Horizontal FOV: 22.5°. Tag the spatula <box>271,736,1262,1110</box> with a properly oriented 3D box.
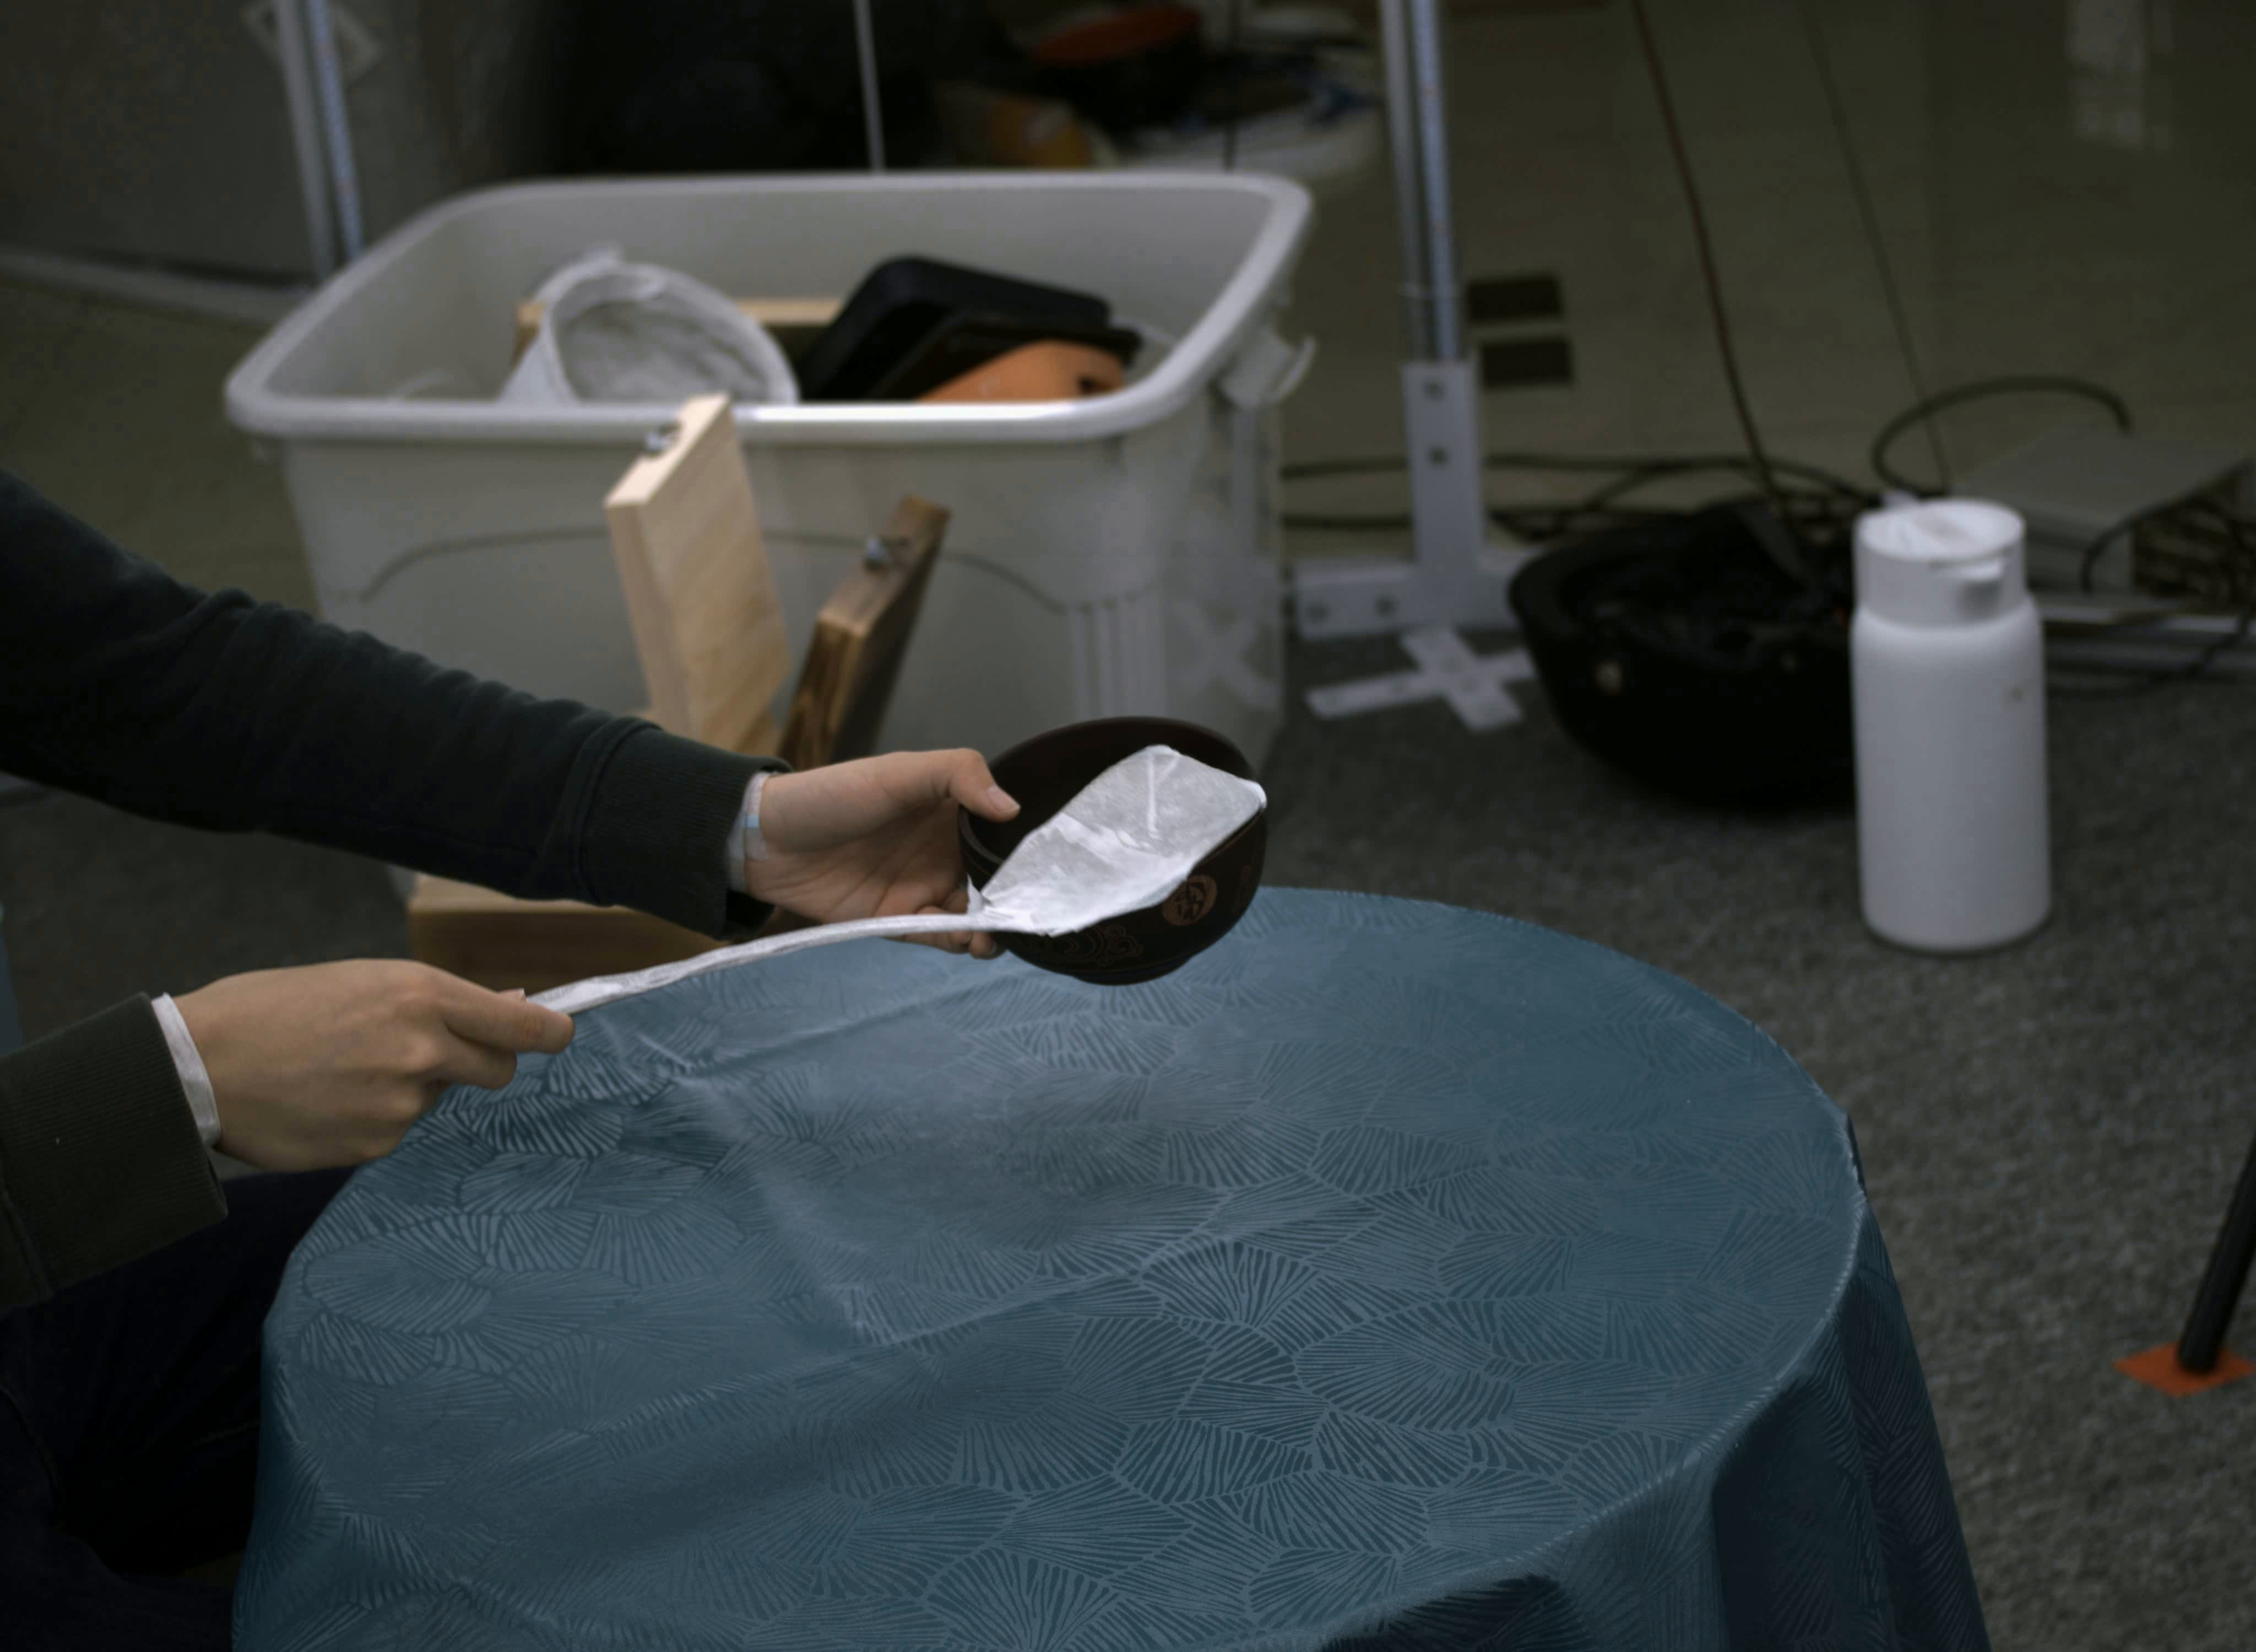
[{"bbox_3d":[-0.123,0.036,1.952,0.363,0.045,0.098,-14,22,-24],"label":"spatula"}]

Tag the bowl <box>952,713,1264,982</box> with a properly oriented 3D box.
[{"bbox_3d":[-0.005,0.015,2.148,0.118,0.071,0.116,-6,31,4],"label":"bowl"}]
